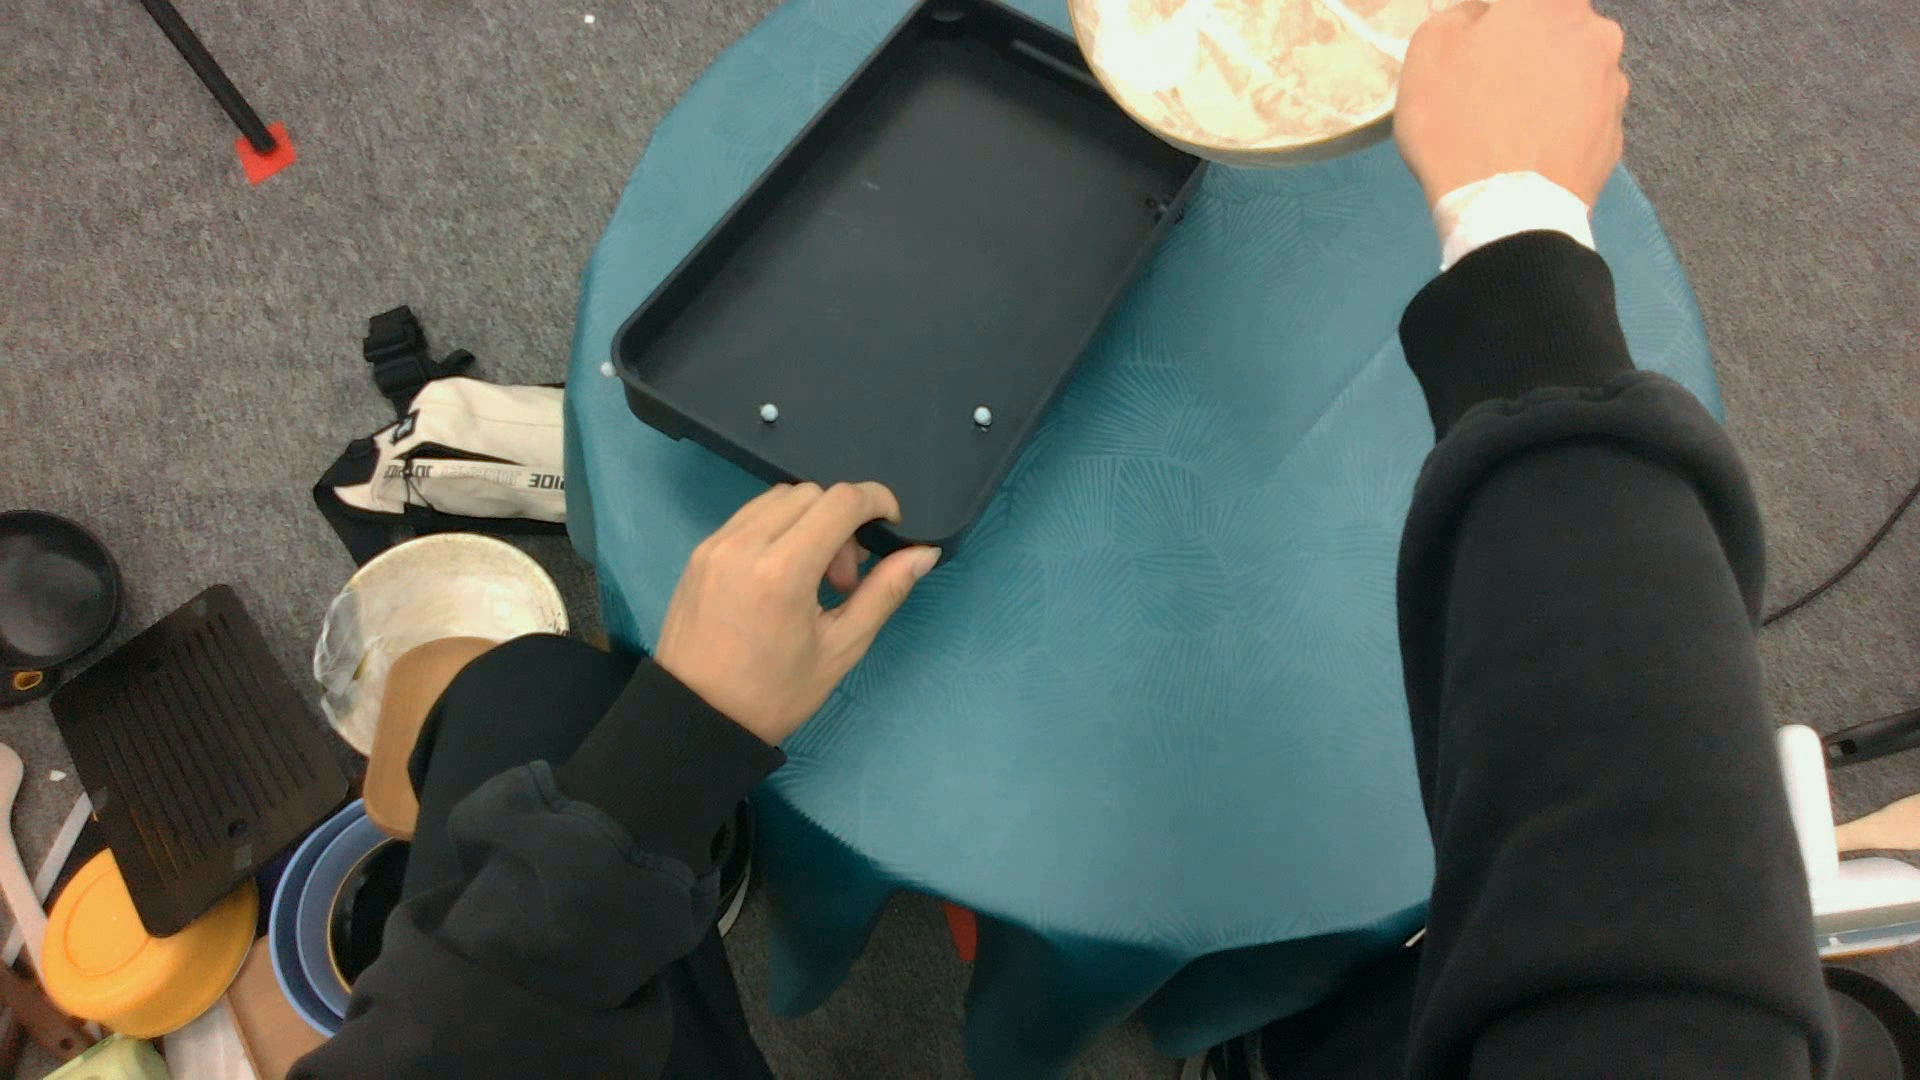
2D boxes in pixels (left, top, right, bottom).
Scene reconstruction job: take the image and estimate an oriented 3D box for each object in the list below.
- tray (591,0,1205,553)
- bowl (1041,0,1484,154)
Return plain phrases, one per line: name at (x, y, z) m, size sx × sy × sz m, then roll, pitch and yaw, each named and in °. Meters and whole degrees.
tray at (-0.018, -0.150, 0.687) m, size 0.184 × 0.037 × 0.319 m, roll 30°, pitch 60°, yaw 9°
bowl at (0.139, -0.258, 0.602) m, size 0.214 × 0.095 × 0.215 m, roll -2°, pitch 86°, yaw 26°
